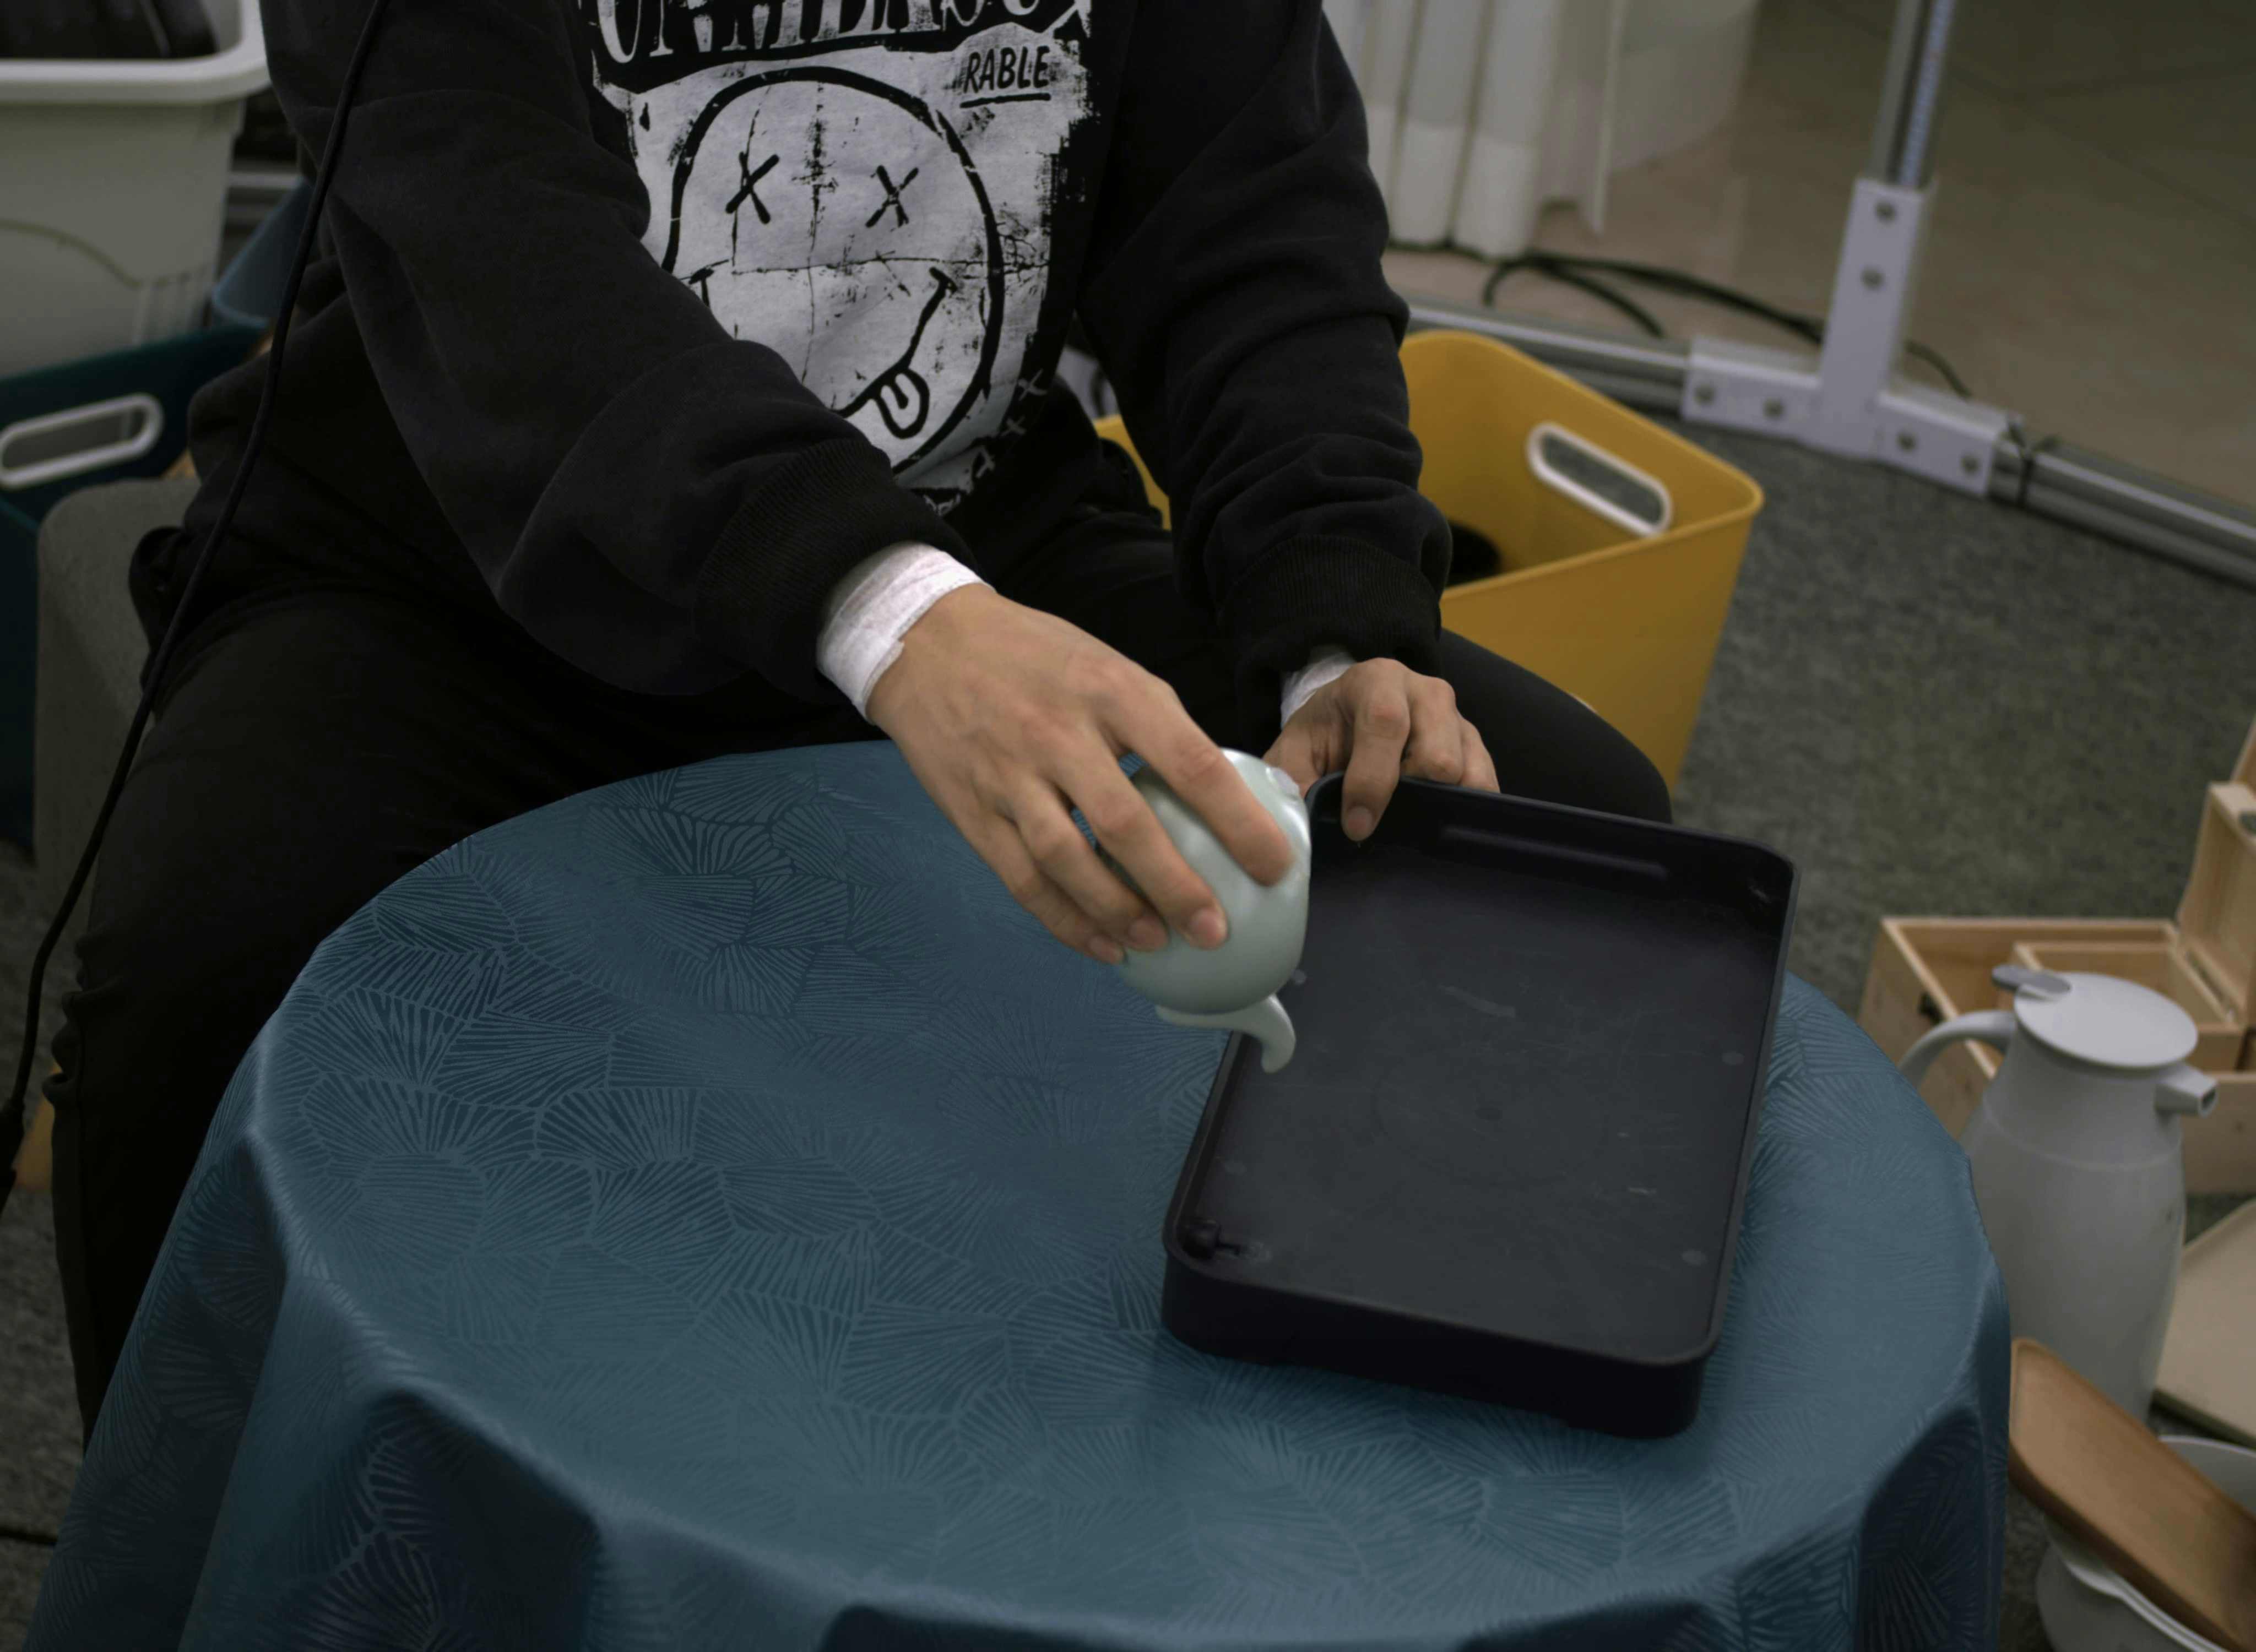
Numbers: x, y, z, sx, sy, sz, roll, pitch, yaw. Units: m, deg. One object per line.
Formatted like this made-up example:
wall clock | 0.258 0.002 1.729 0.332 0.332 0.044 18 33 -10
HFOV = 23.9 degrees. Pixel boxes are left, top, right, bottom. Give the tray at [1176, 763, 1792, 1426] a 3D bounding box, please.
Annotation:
tray | 0.127 0.085 1.834 0.184 0.037 0.319 9 33 6

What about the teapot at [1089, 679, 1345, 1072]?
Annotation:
teapot | 0.026 0.016 1.747 0.074 0.143 0.089 5 26 -7
